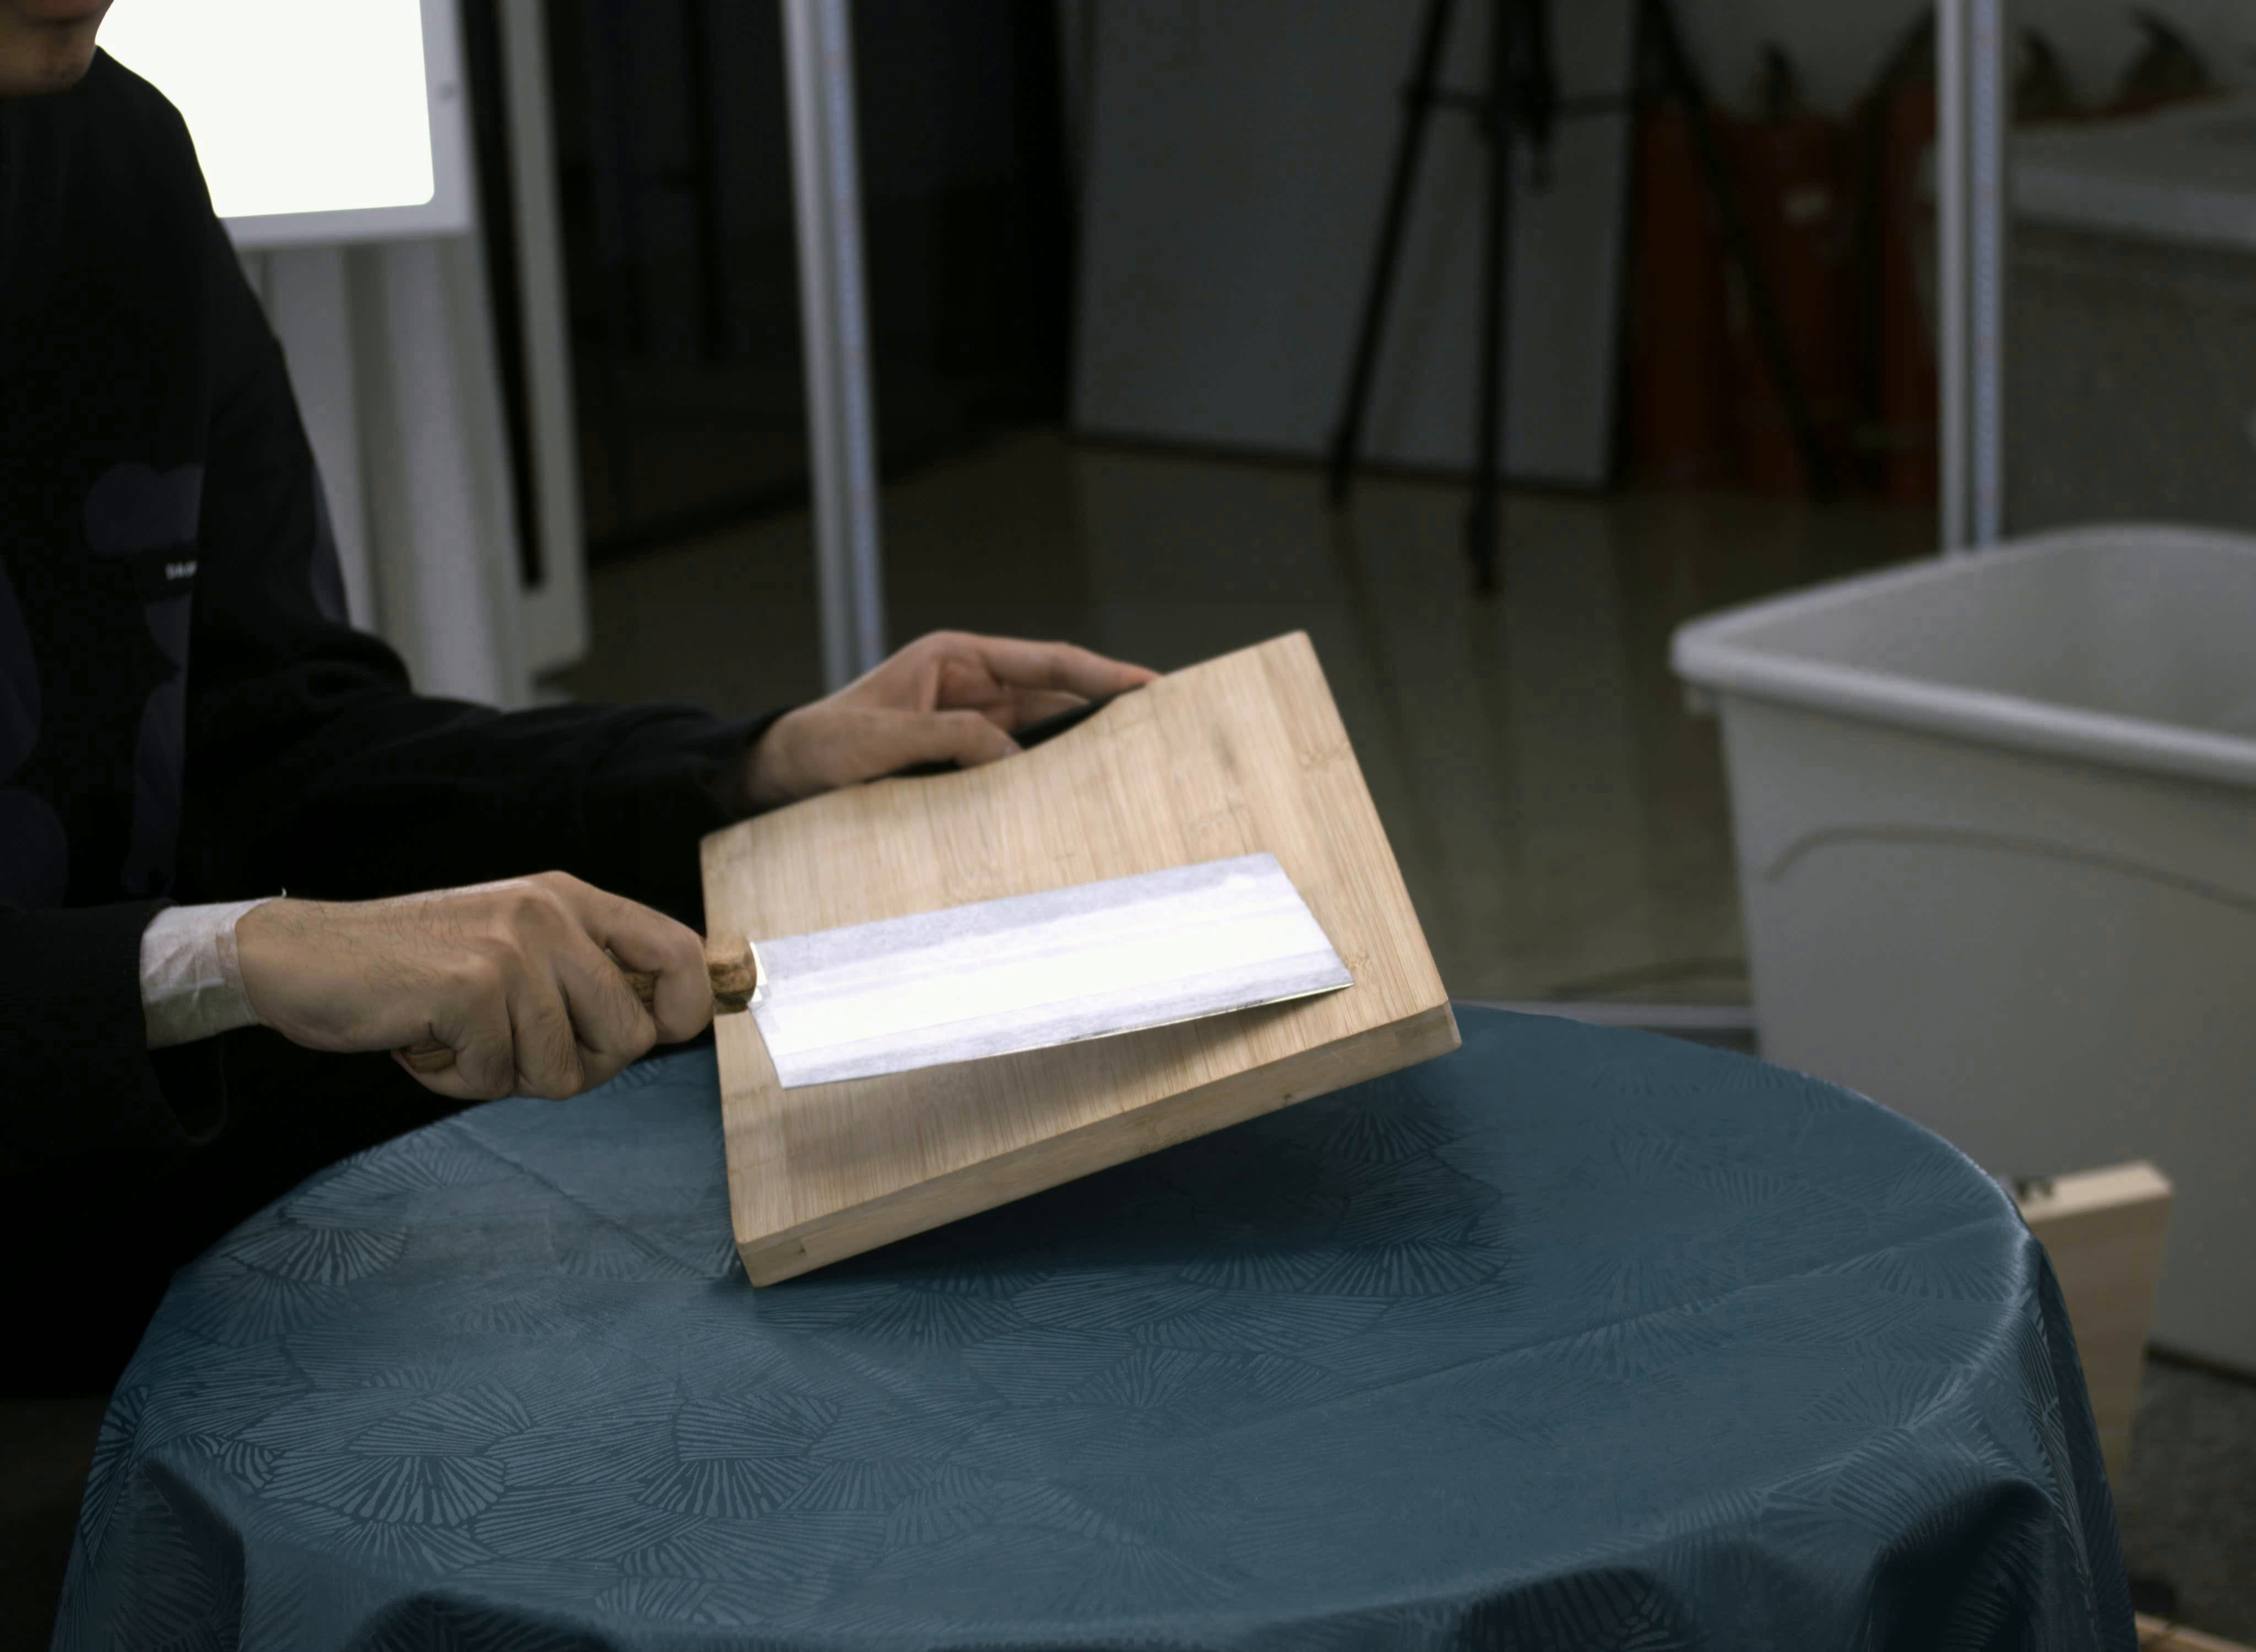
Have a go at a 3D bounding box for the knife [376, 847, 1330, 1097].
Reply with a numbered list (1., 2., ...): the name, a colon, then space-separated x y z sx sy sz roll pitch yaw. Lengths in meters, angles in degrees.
1. knife: -0.084 0.054 1.722 0.300 0.021 0.094 -11 31 -12

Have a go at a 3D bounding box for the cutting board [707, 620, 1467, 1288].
1. cutting board: -0.025 0.037 1.853 0.248 0.023 0.350 -20 23 1
